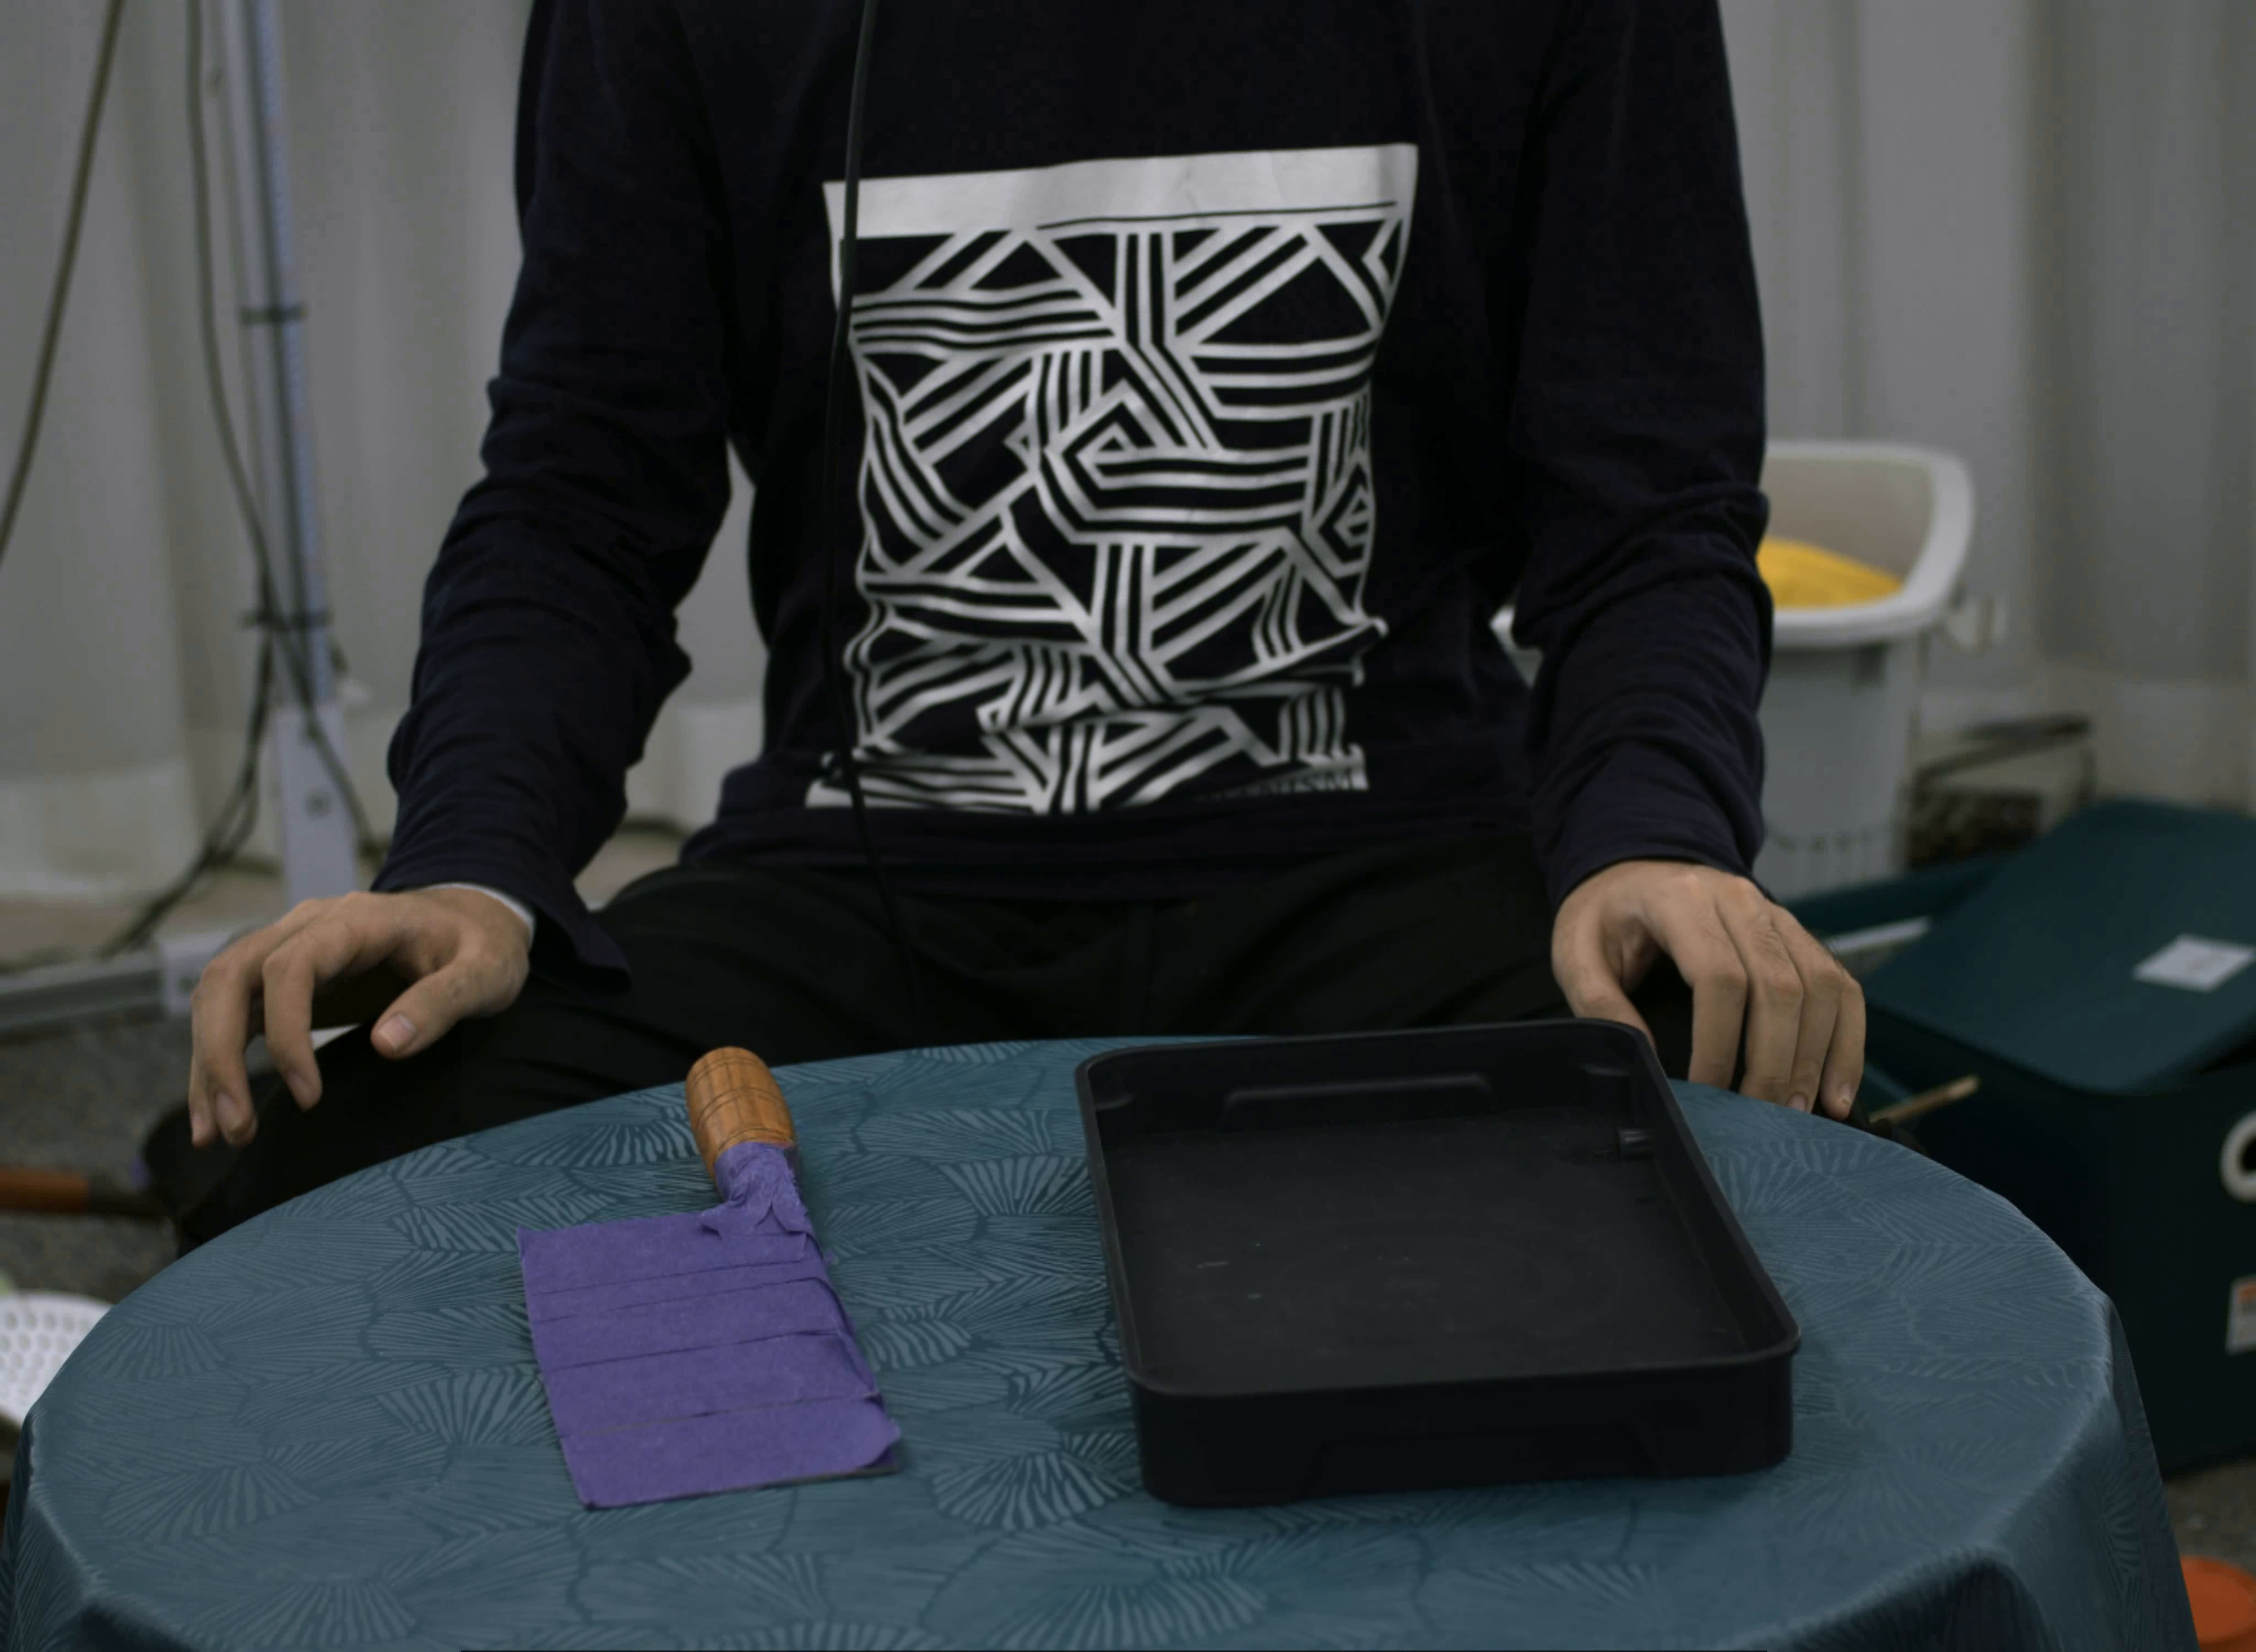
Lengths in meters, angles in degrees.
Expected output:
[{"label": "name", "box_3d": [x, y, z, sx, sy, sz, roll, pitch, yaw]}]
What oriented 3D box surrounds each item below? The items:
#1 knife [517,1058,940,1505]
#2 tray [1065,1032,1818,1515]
[{"label": "knife", "box_3d": [-0.132, 0.131, 1.628, 0.103, 0.032, 0.318, -5, 15, -11]}, {"label": "tray", "box_3d": [0.084, 0.125, 1.600, 0.183, 0.037, 0.320, -4, 13, -4]}]
